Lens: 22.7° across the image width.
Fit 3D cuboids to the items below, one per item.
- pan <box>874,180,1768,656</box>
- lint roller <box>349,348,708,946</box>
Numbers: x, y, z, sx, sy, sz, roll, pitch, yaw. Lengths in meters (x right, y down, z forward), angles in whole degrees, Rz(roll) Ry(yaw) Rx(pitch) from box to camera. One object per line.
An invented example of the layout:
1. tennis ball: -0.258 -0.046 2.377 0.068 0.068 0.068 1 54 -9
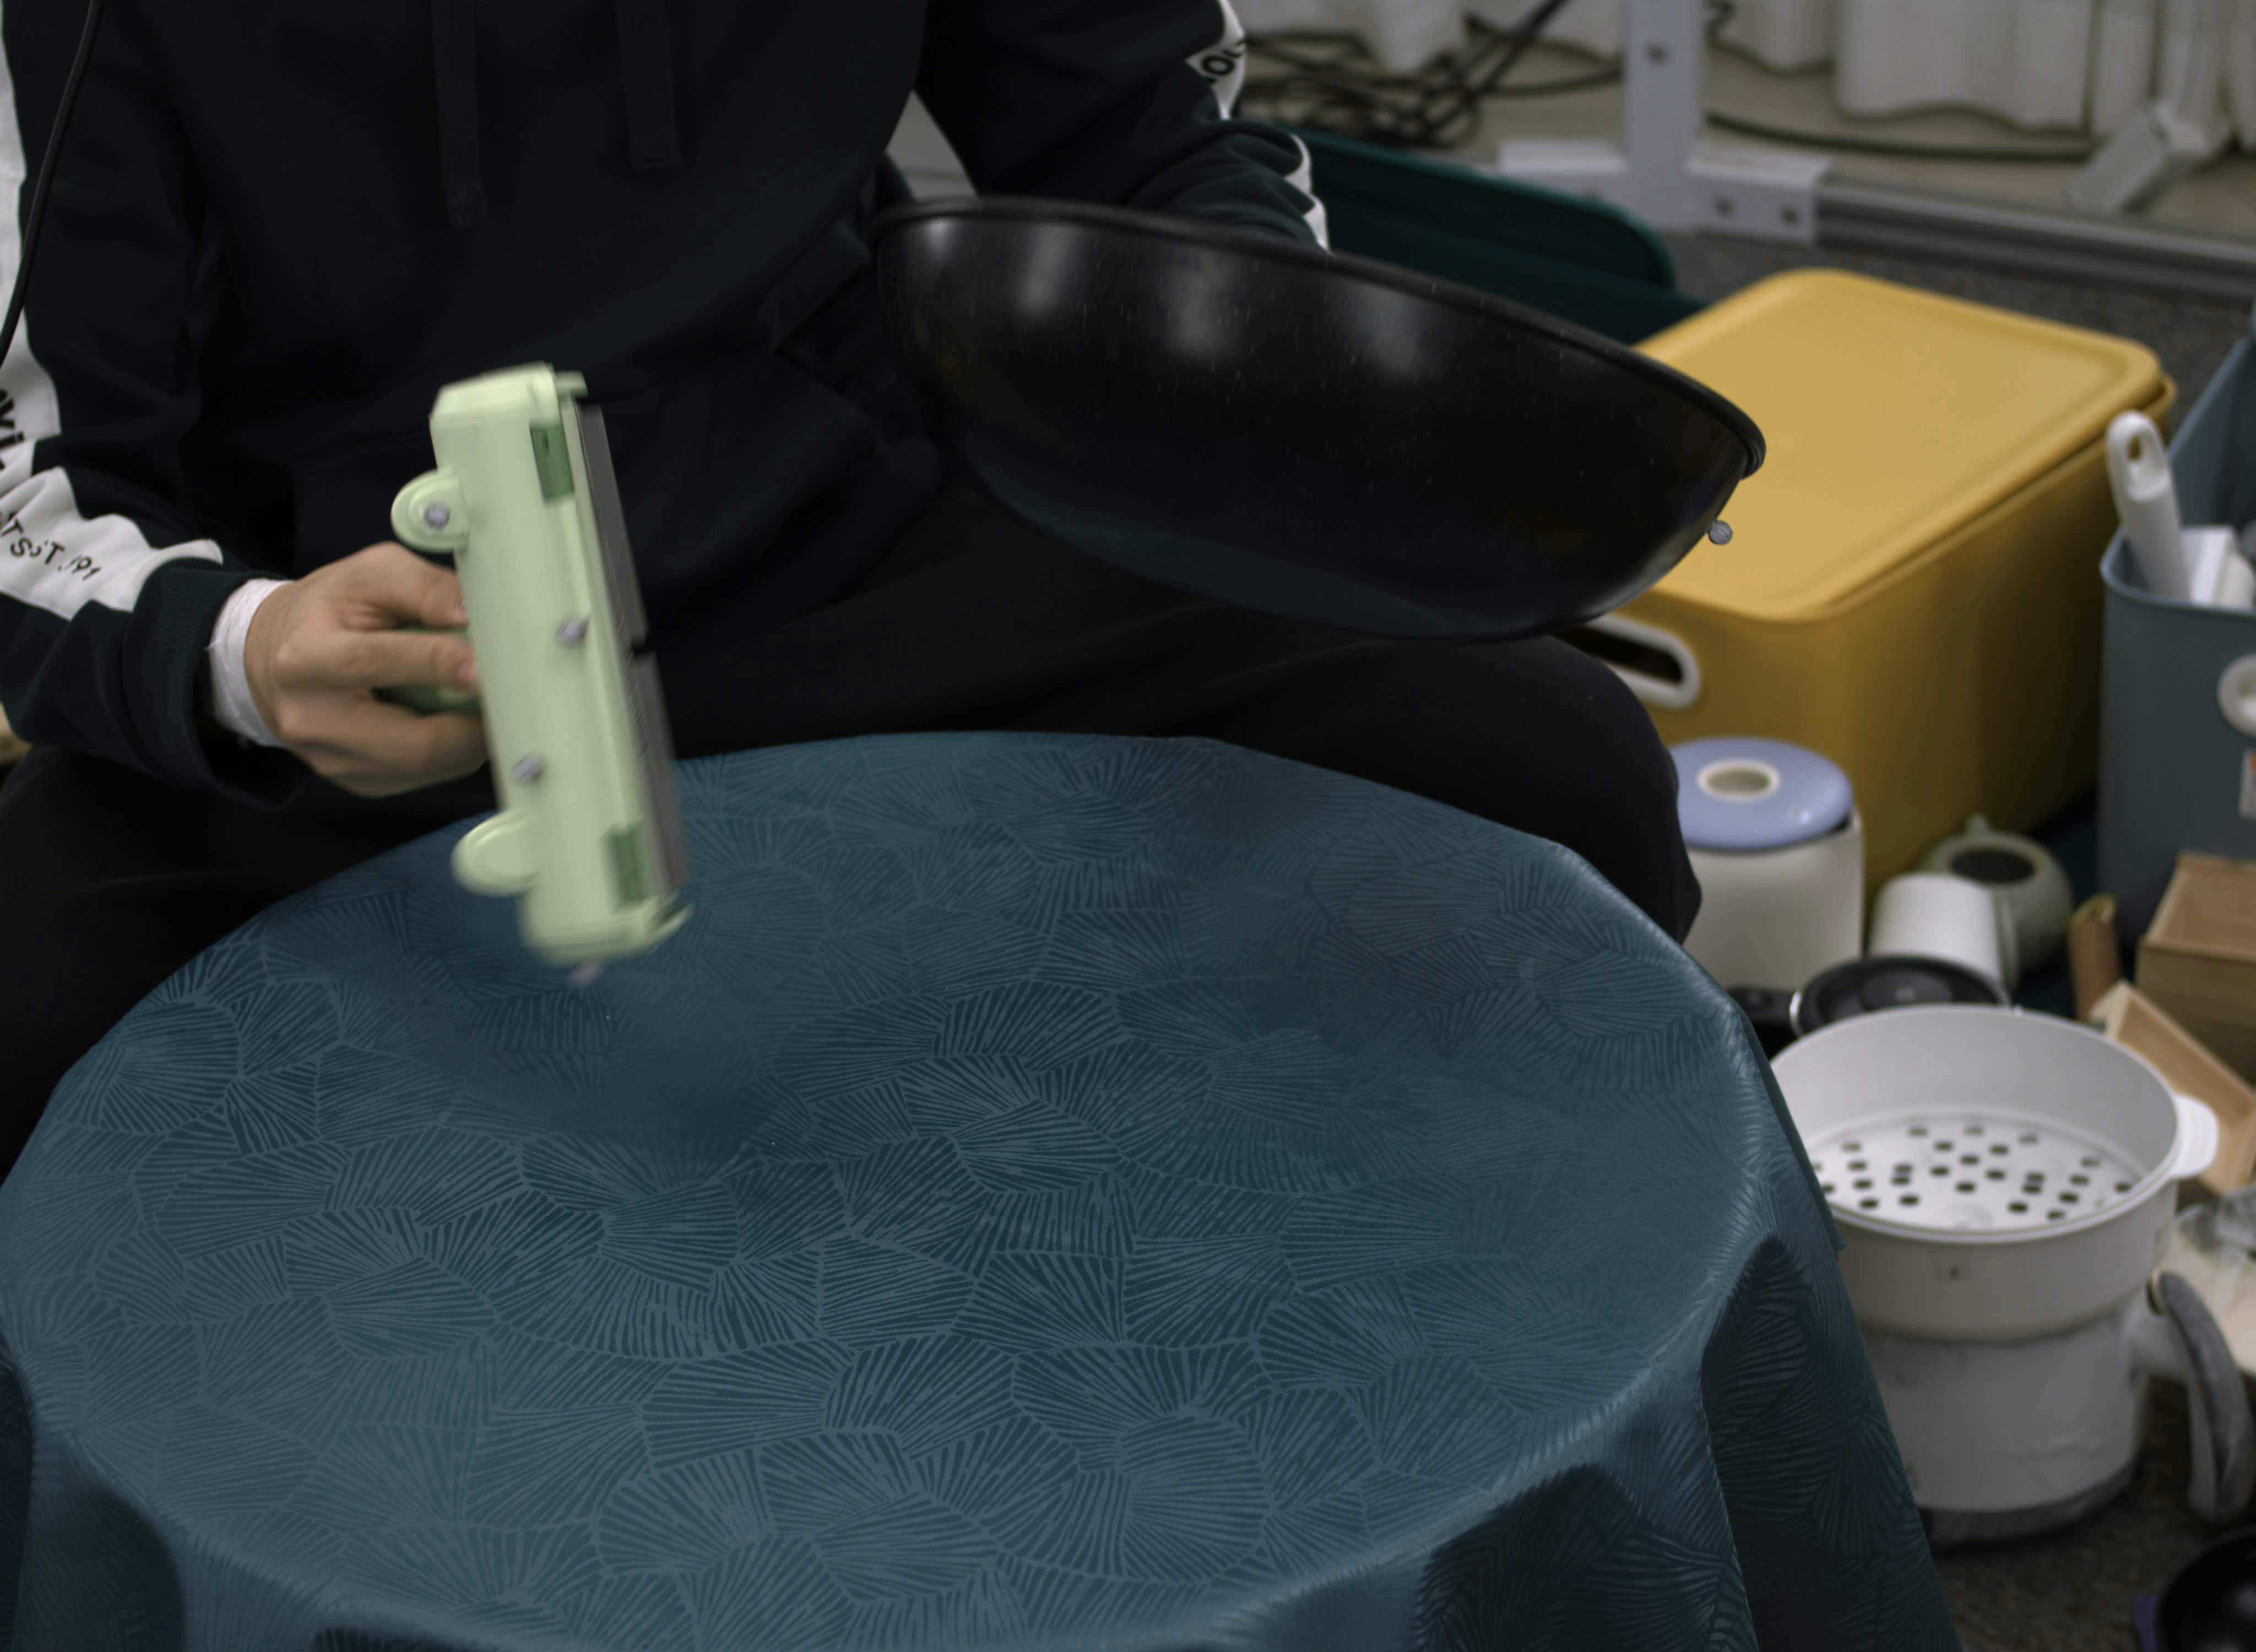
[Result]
1. pan: 0.049 -0.127 1.960 0.309 0.112 0.474 17 -6 -4
2. lint roller: -0.230 -0.053 1.913 0.181 0.199 0.083 -8 7 45
